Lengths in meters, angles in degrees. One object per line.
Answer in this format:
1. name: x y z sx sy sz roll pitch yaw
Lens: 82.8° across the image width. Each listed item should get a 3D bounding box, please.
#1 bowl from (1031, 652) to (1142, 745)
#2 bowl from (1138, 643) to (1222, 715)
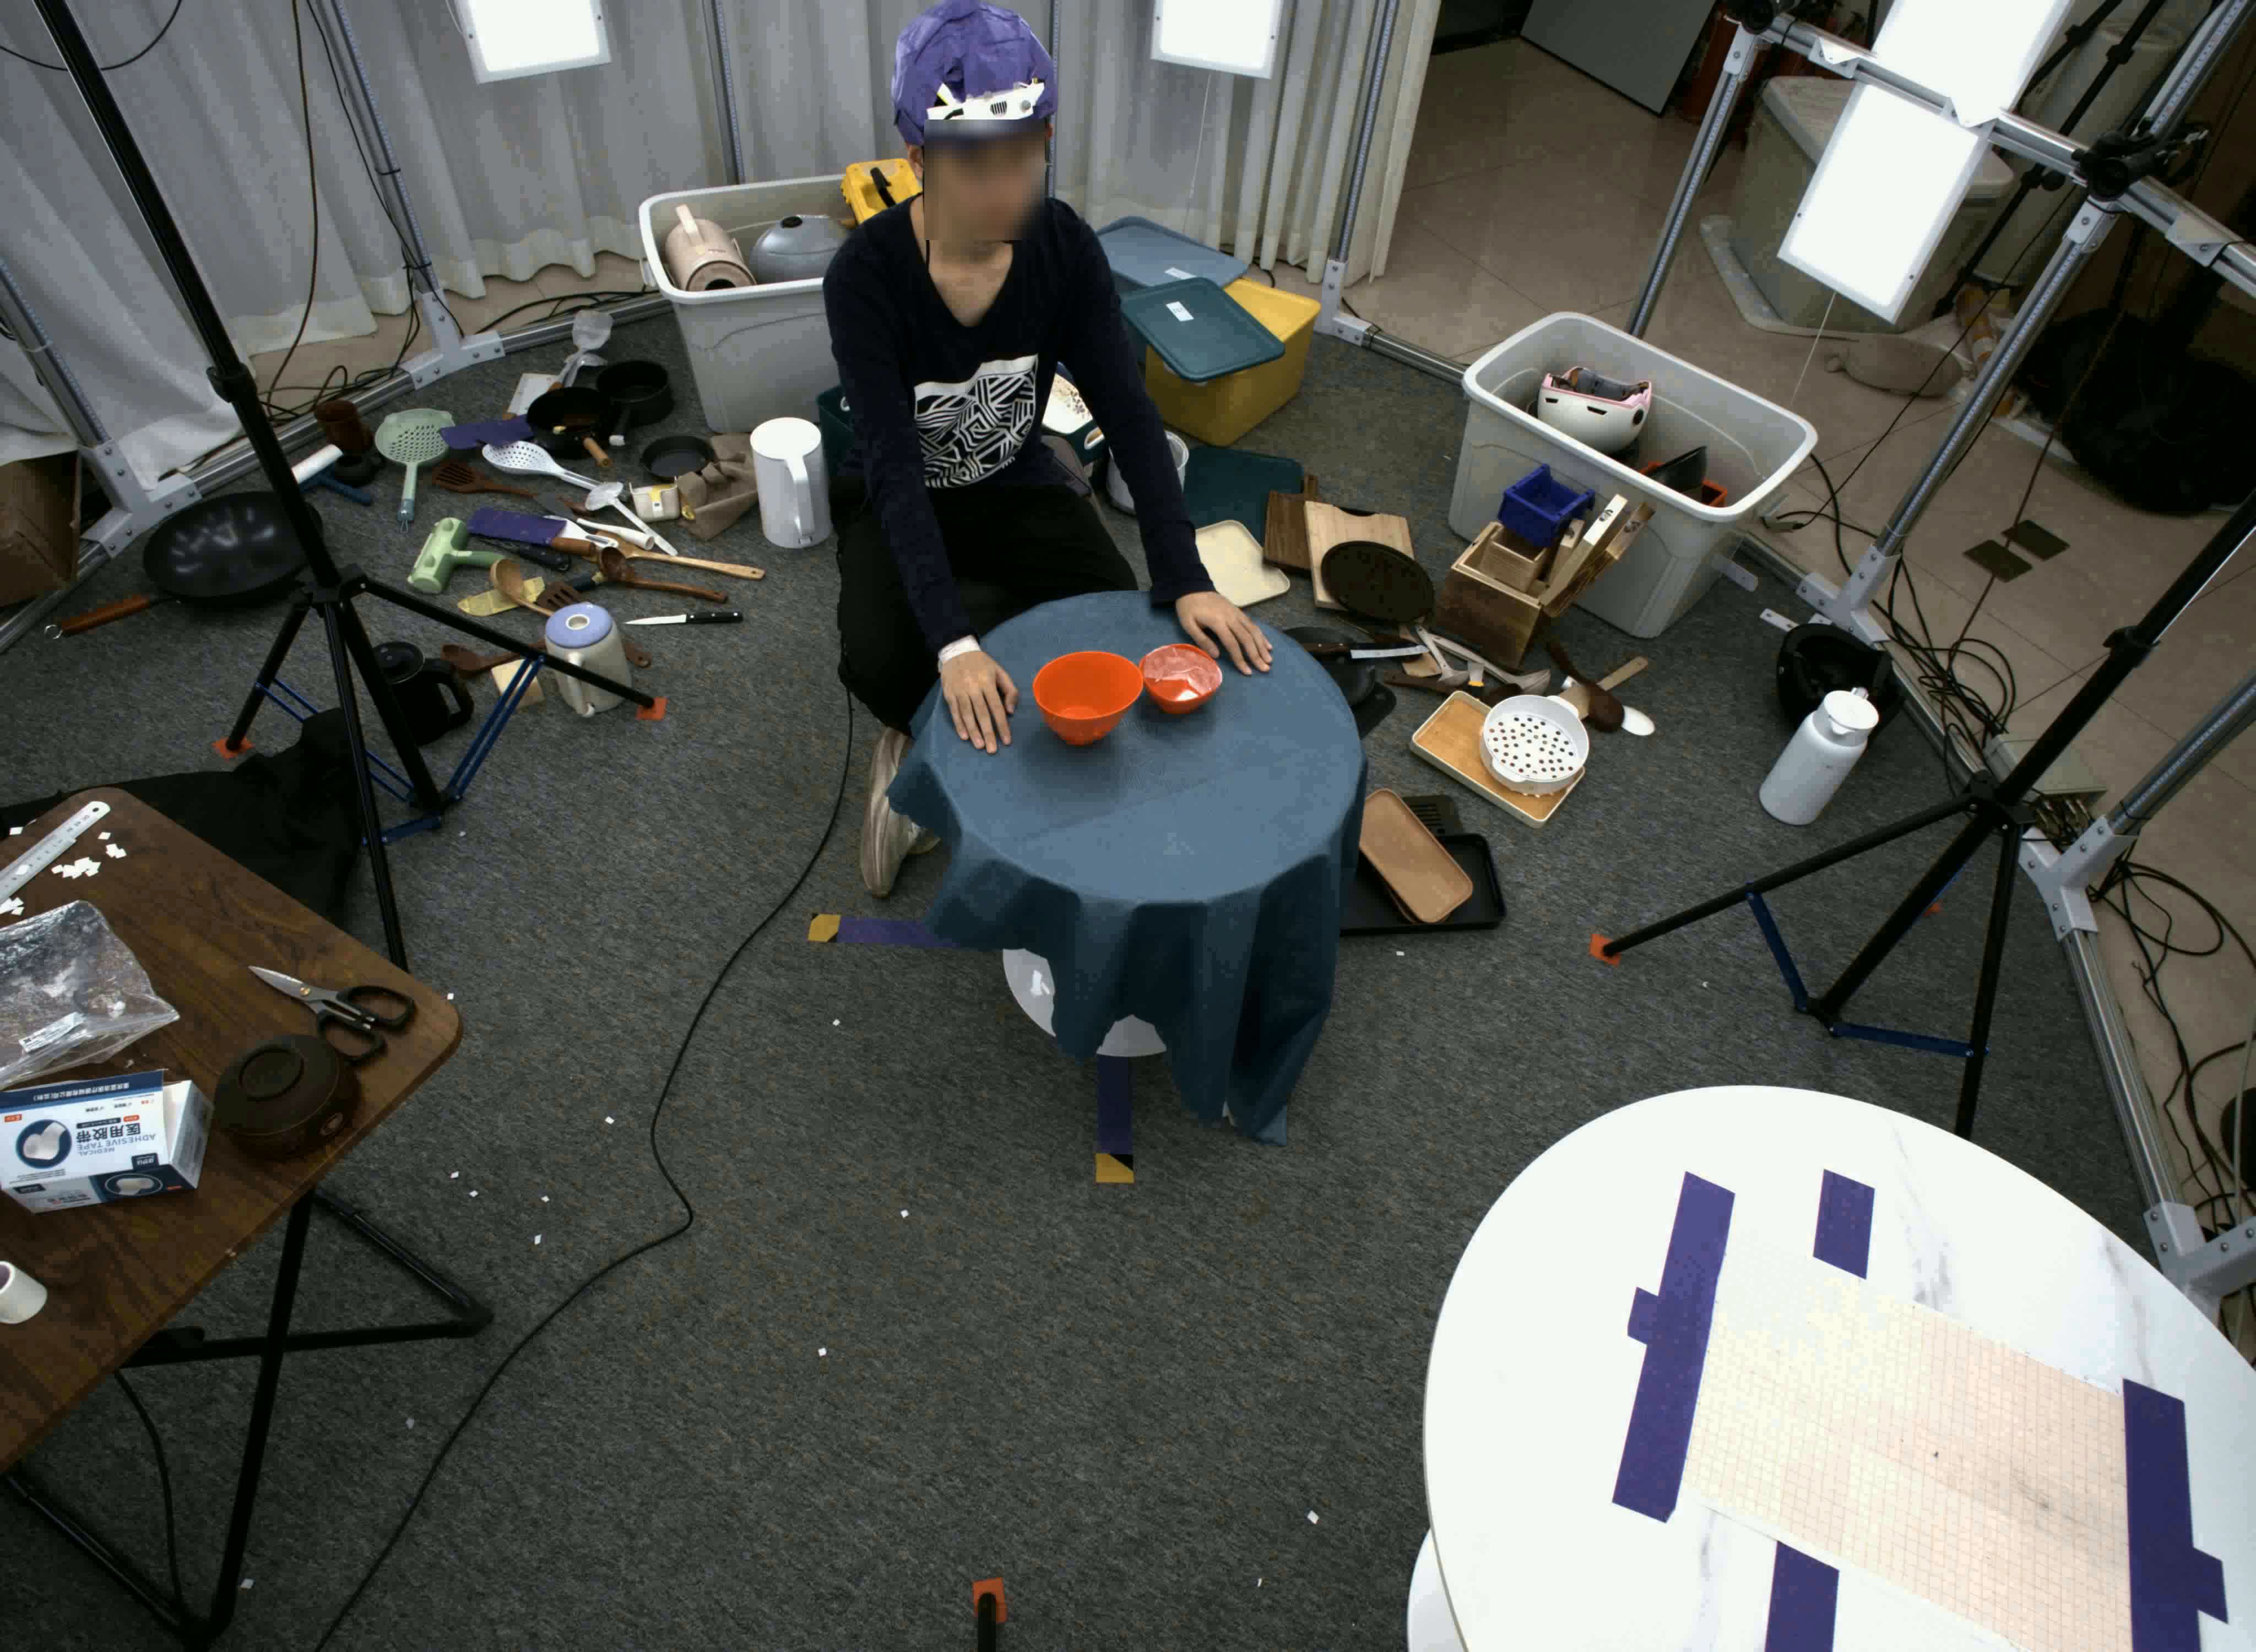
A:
1. bowl: -0.058 -0.162 1.739 0.148 0.102 0.152 1 50 -2
2. bowl: 0.072 -0.202 1.814 0.119 0.050 0.122 1 50 -2
